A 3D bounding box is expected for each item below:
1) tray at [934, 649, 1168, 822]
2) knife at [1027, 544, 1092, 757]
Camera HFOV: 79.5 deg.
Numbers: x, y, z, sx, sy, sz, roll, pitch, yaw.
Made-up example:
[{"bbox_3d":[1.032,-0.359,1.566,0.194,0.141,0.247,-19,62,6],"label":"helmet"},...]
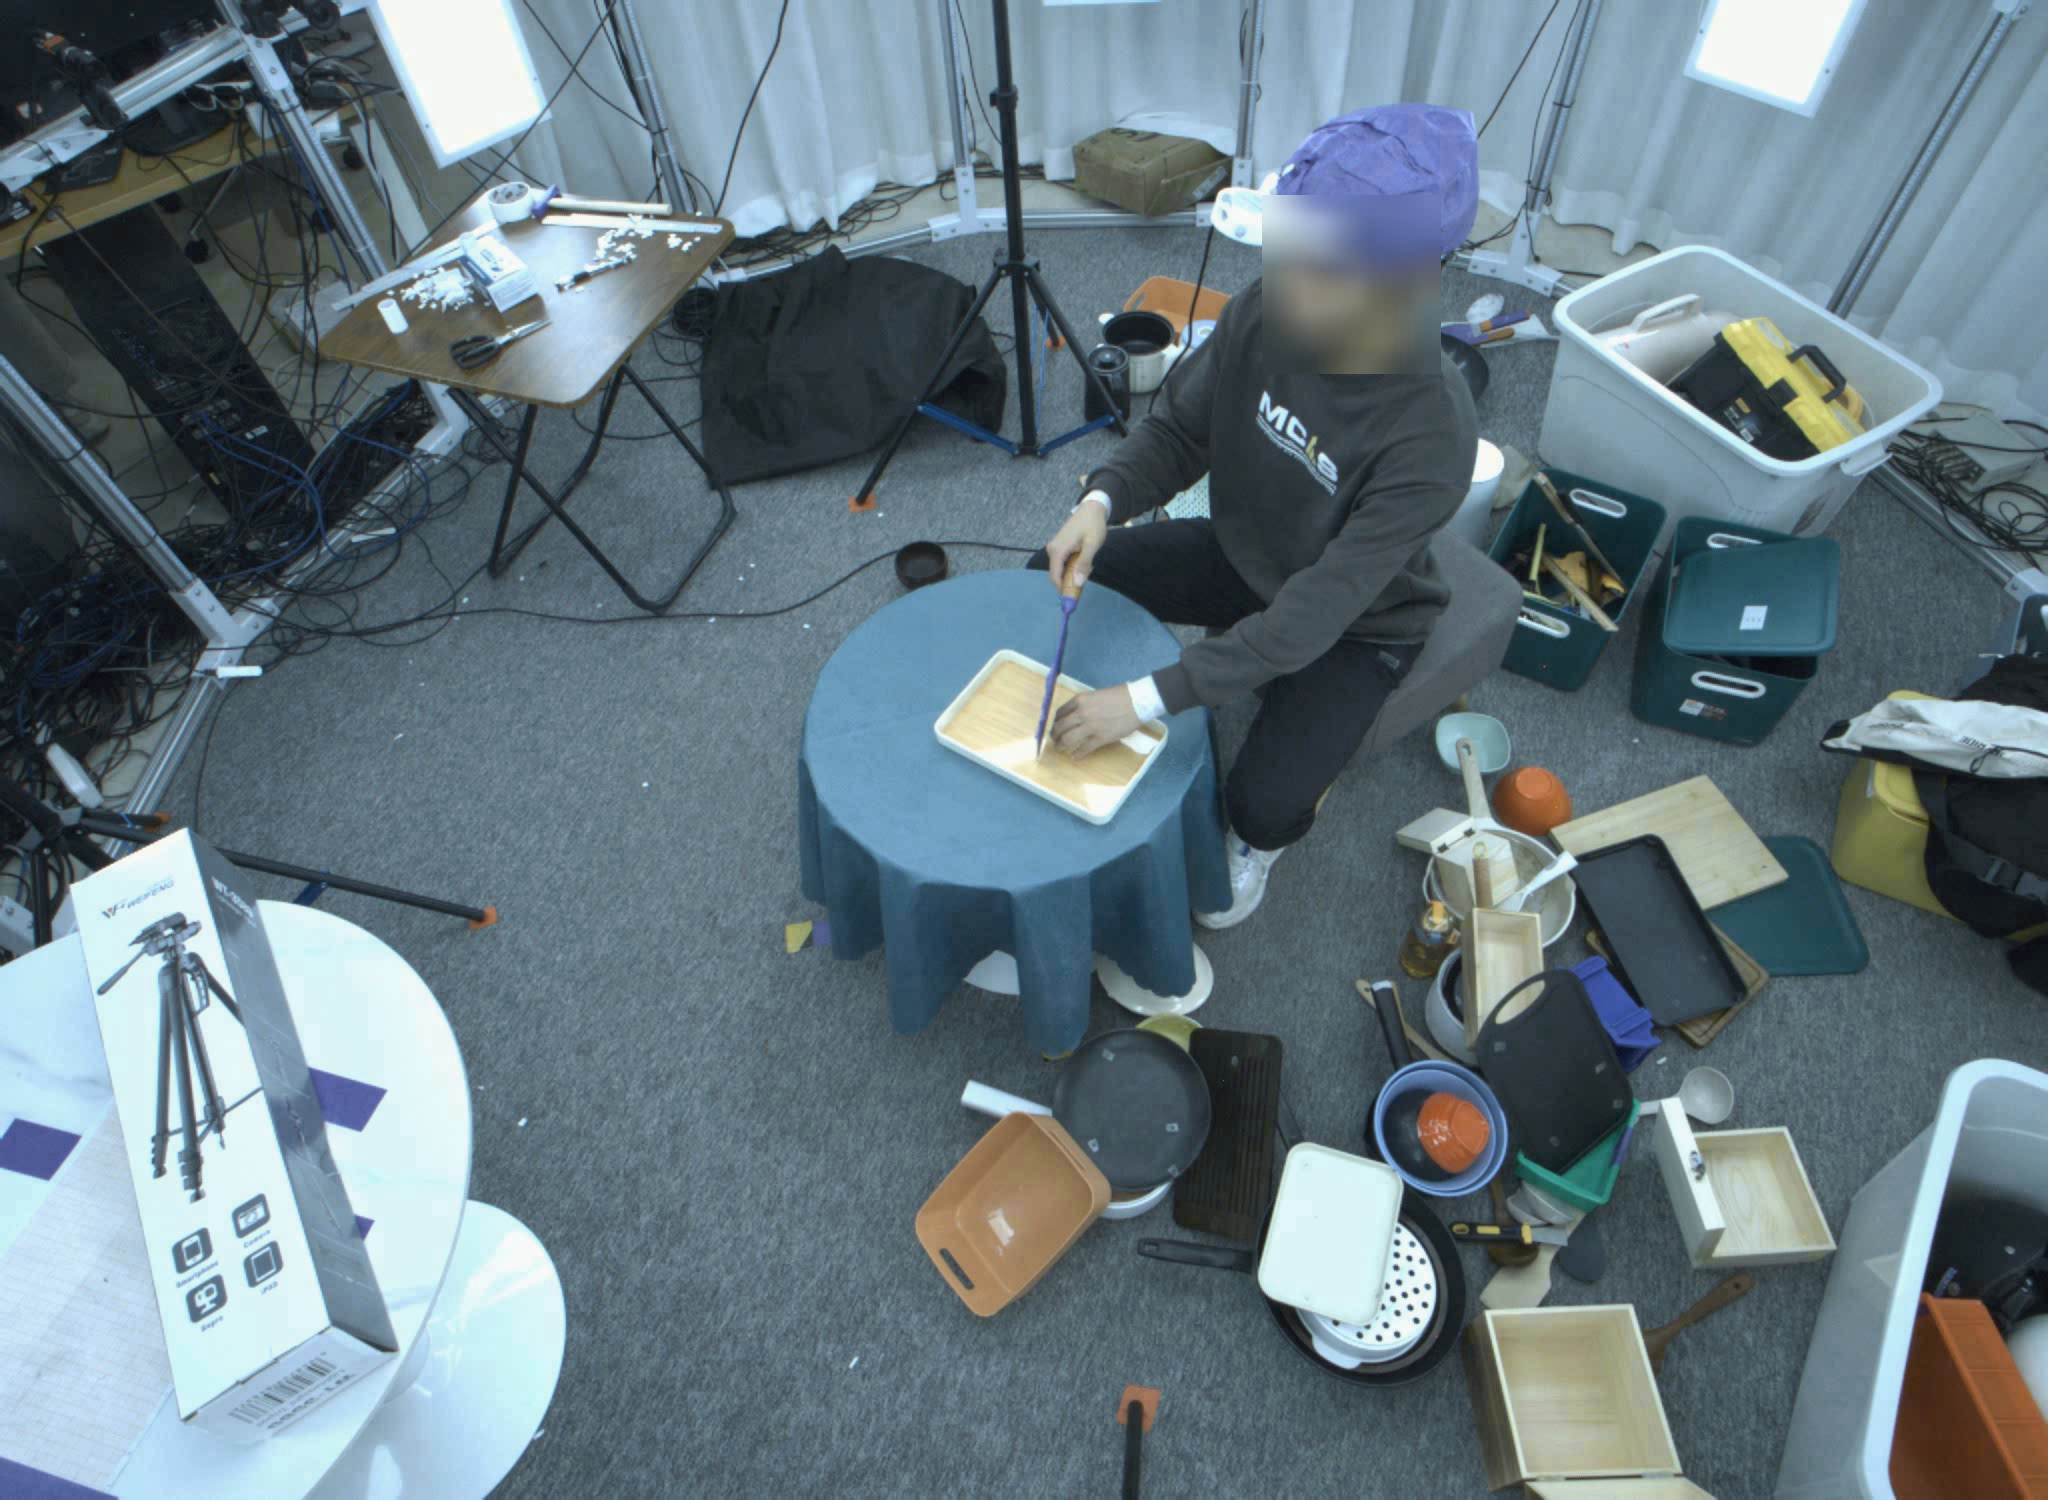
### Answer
[{"bbox_3d":[0.039,-0.026,1.796,0.296,0.028,0.192,27,59,19],"label":"tray"},{"bbox_3d":[0.046,-0.144,1.777,0.032,0.104,0.314,14,70,4],"label":"knife"}]
